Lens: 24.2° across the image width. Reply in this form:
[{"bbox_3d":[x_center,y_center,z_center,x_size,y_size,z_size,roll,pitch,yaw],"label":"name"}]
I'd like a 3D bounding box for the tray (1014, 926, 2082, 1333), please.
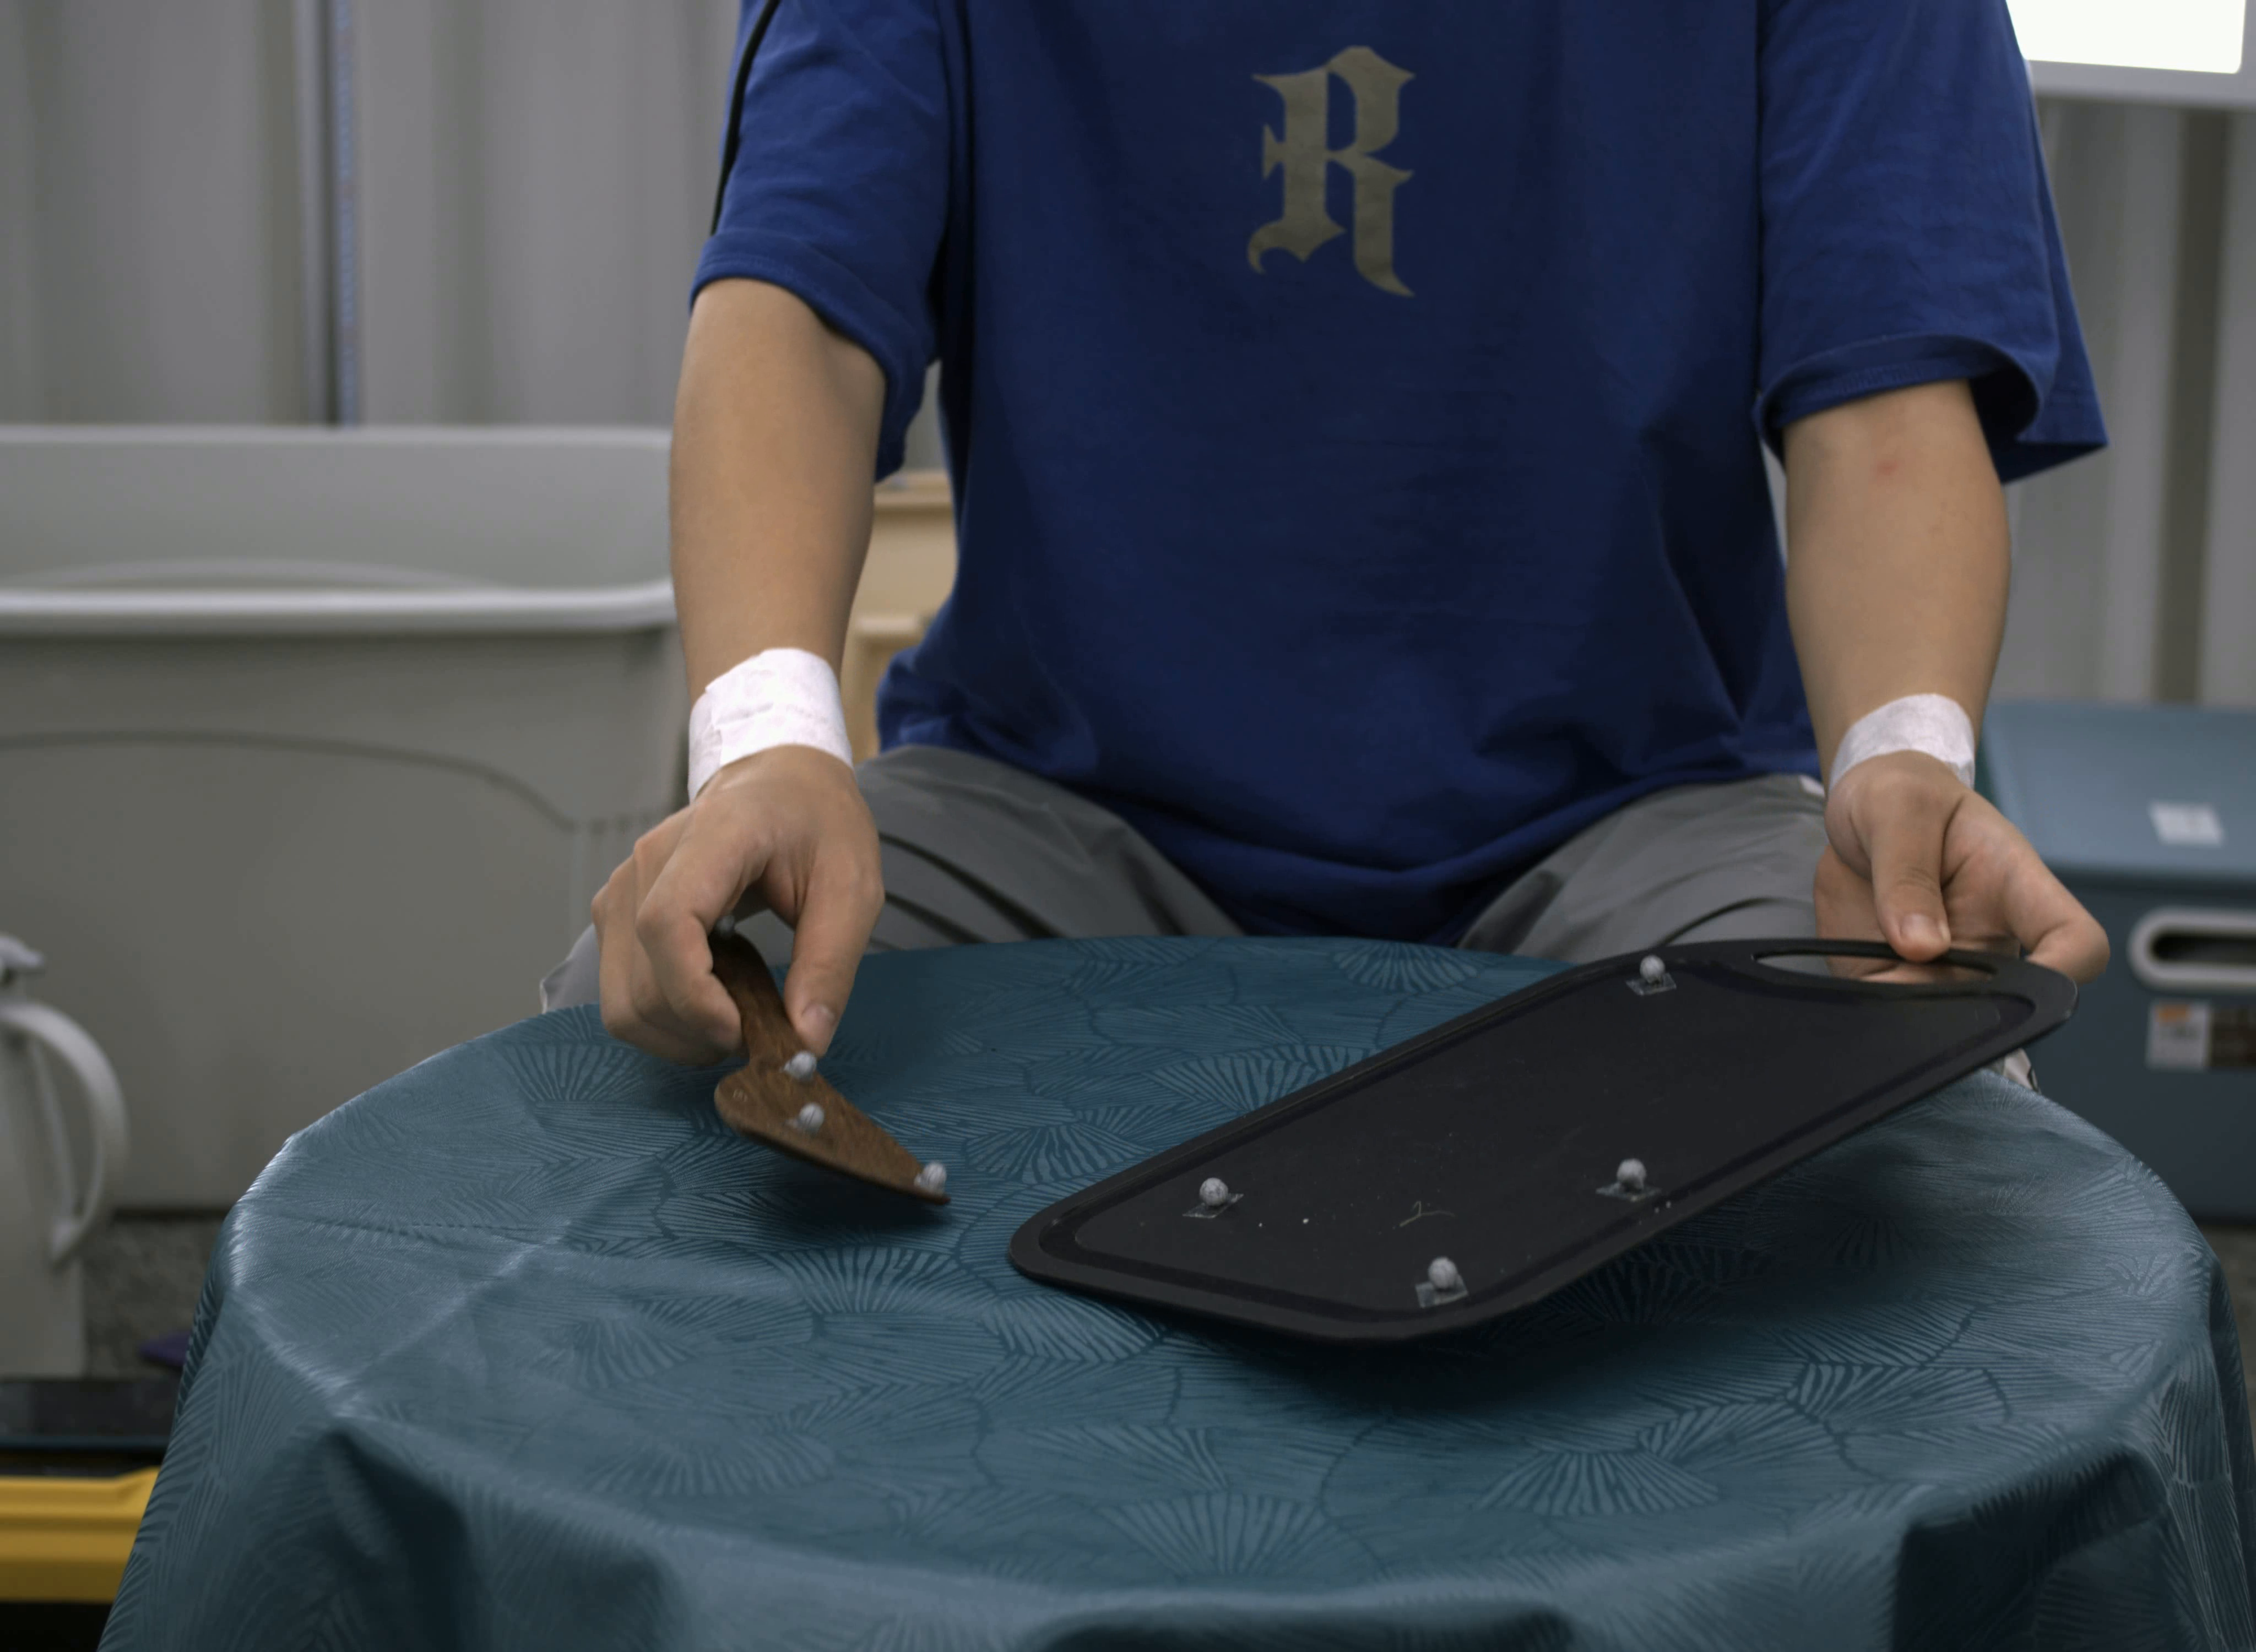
[{"bbox_3d":[0.133,0.083,1.591,0.326,0.010,0.208,-22,17,-36],"label":"tray"}]

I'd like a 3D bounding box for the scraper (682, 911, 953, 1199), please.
[{"bbox_3d":[-0.110,0.068,1.662,0.076,0.011,0.209,23,12,-23],"label":"scraper"}]
